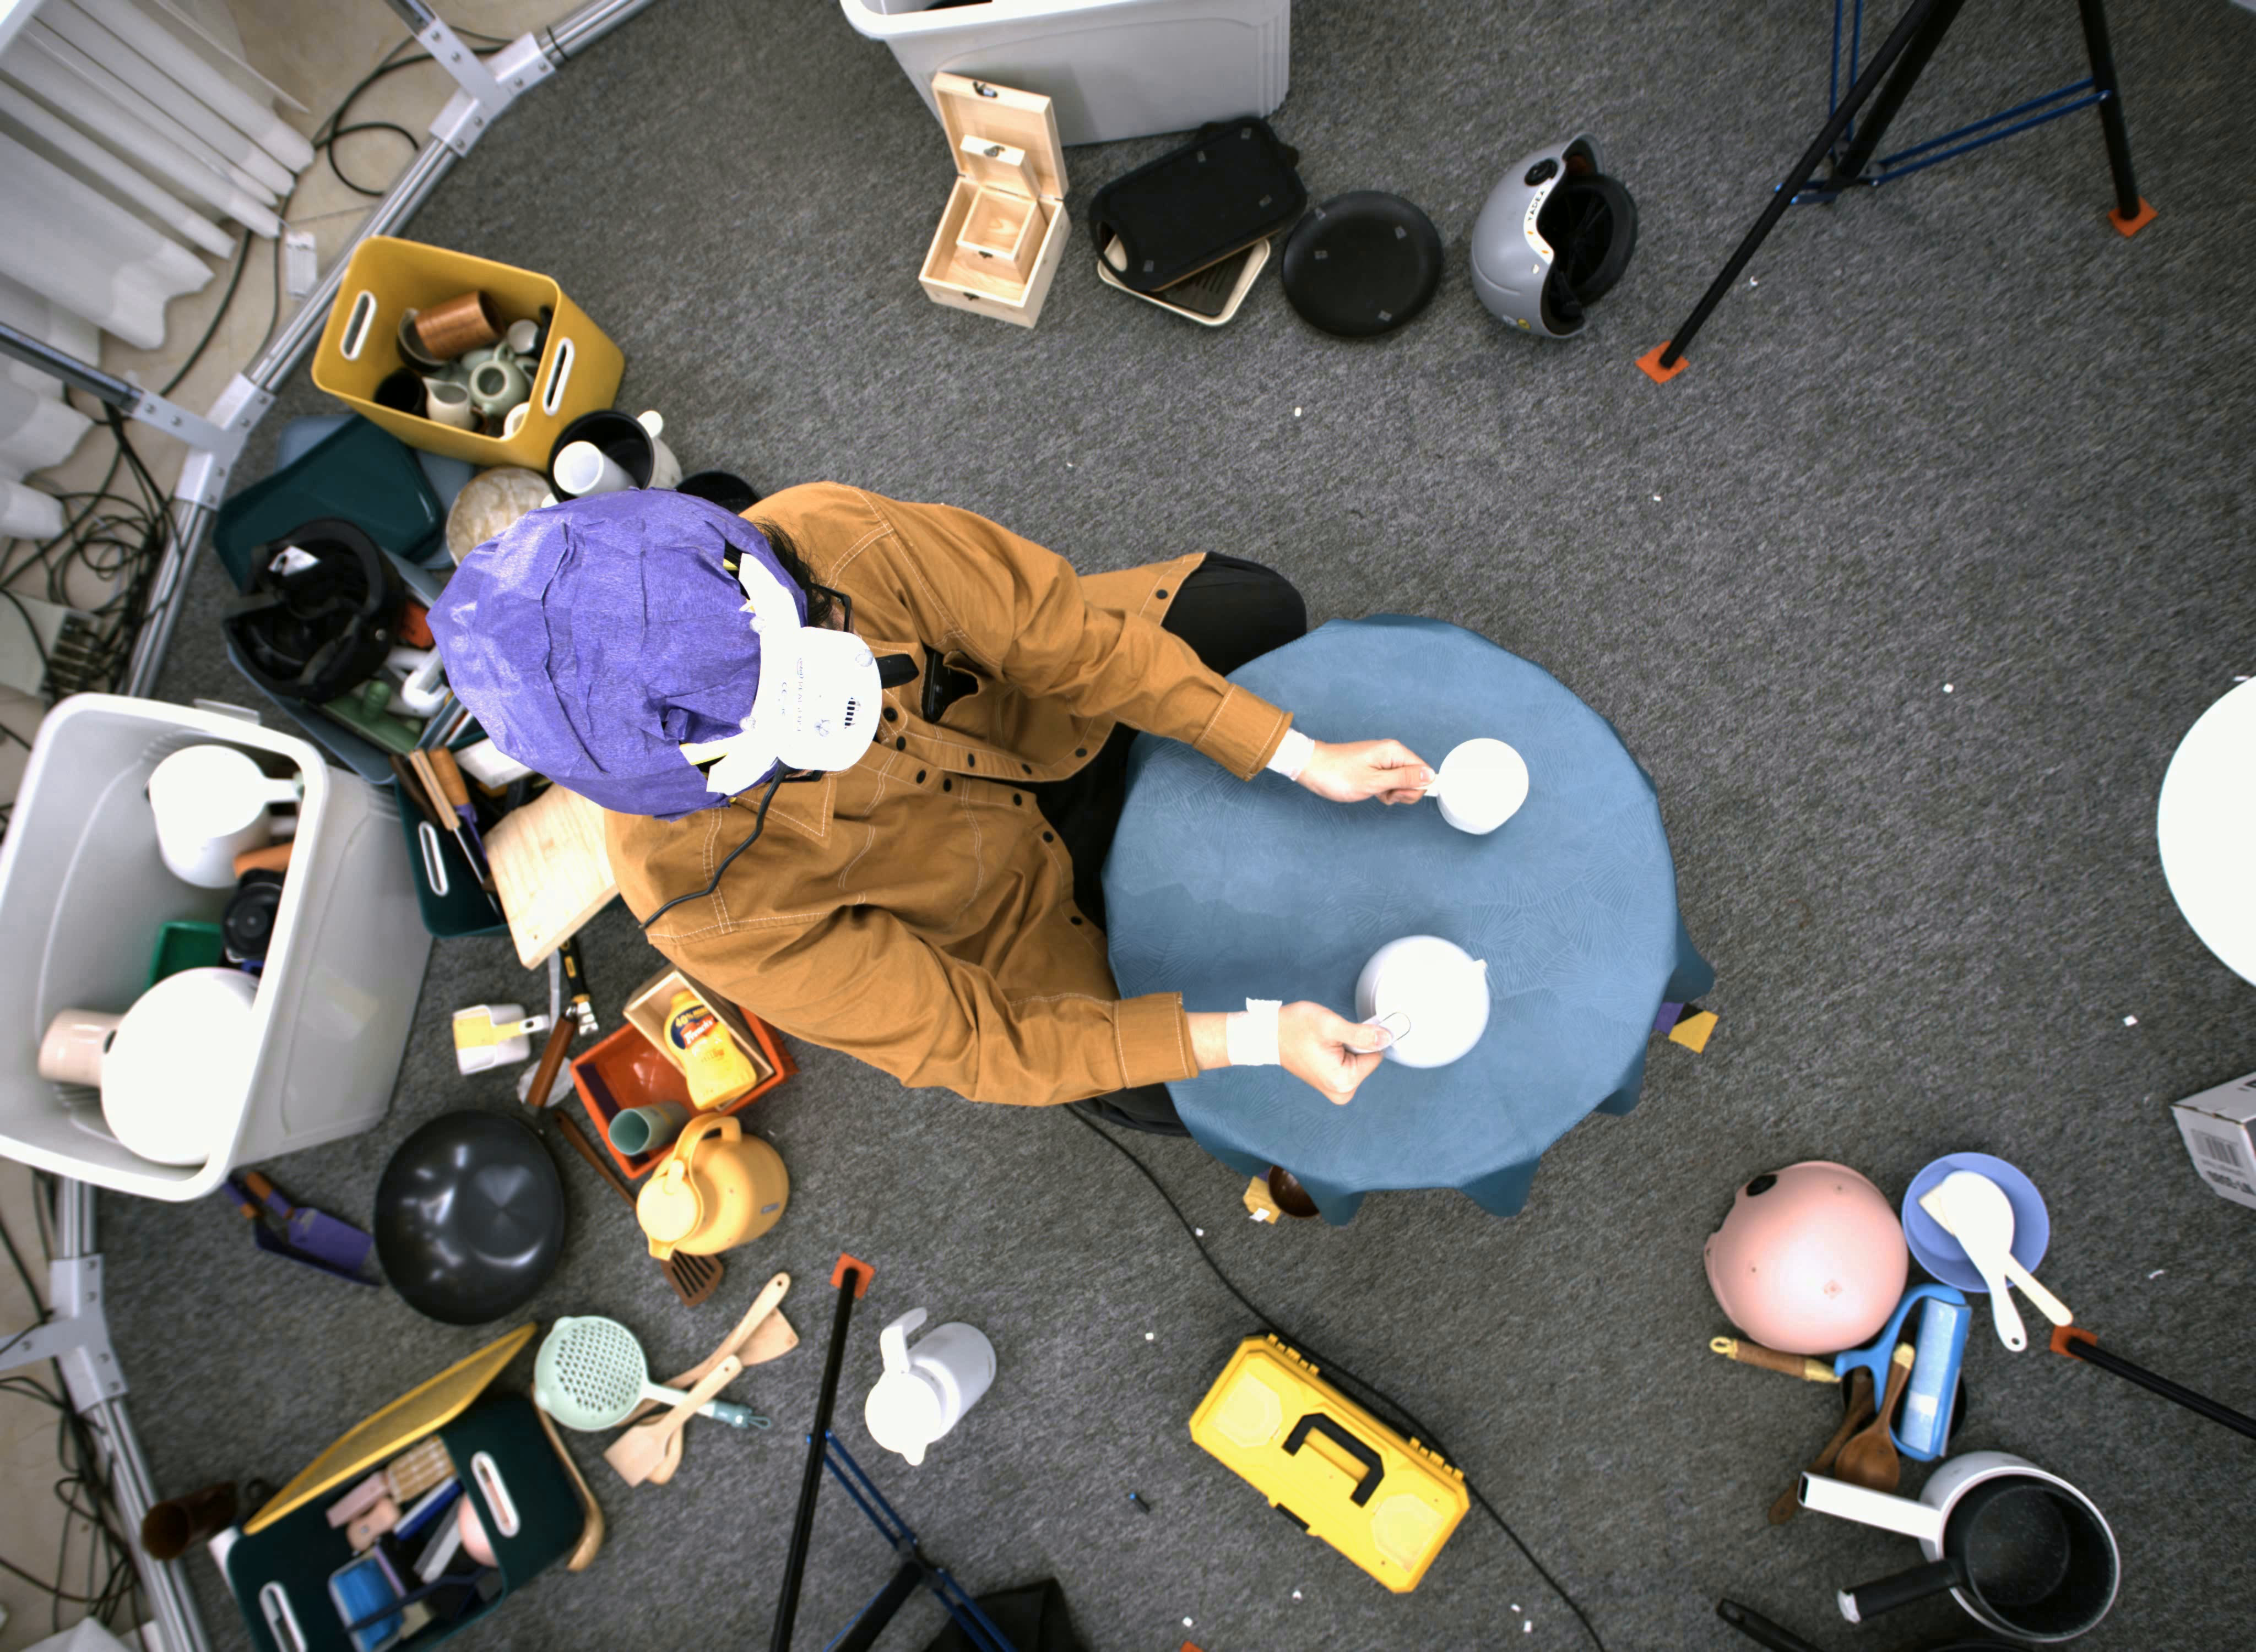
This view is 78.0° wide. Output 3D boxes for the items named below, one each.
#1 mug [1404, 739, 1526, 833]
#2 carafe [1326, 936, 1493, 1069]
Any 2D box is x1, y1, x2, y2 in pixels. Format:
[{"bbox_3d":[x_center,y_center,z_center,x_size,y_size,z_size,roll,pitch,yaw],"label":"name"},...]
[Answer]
[{"bbox_3d":[0.342,-0.041,1.401,0.119,0.102,0.084,1,85,12],"label":"mug"},{"bbox_3d":[0.268,0.180,1.331,0.168,0.248,0.132,-33,81,7],"label":"carafe"}]
